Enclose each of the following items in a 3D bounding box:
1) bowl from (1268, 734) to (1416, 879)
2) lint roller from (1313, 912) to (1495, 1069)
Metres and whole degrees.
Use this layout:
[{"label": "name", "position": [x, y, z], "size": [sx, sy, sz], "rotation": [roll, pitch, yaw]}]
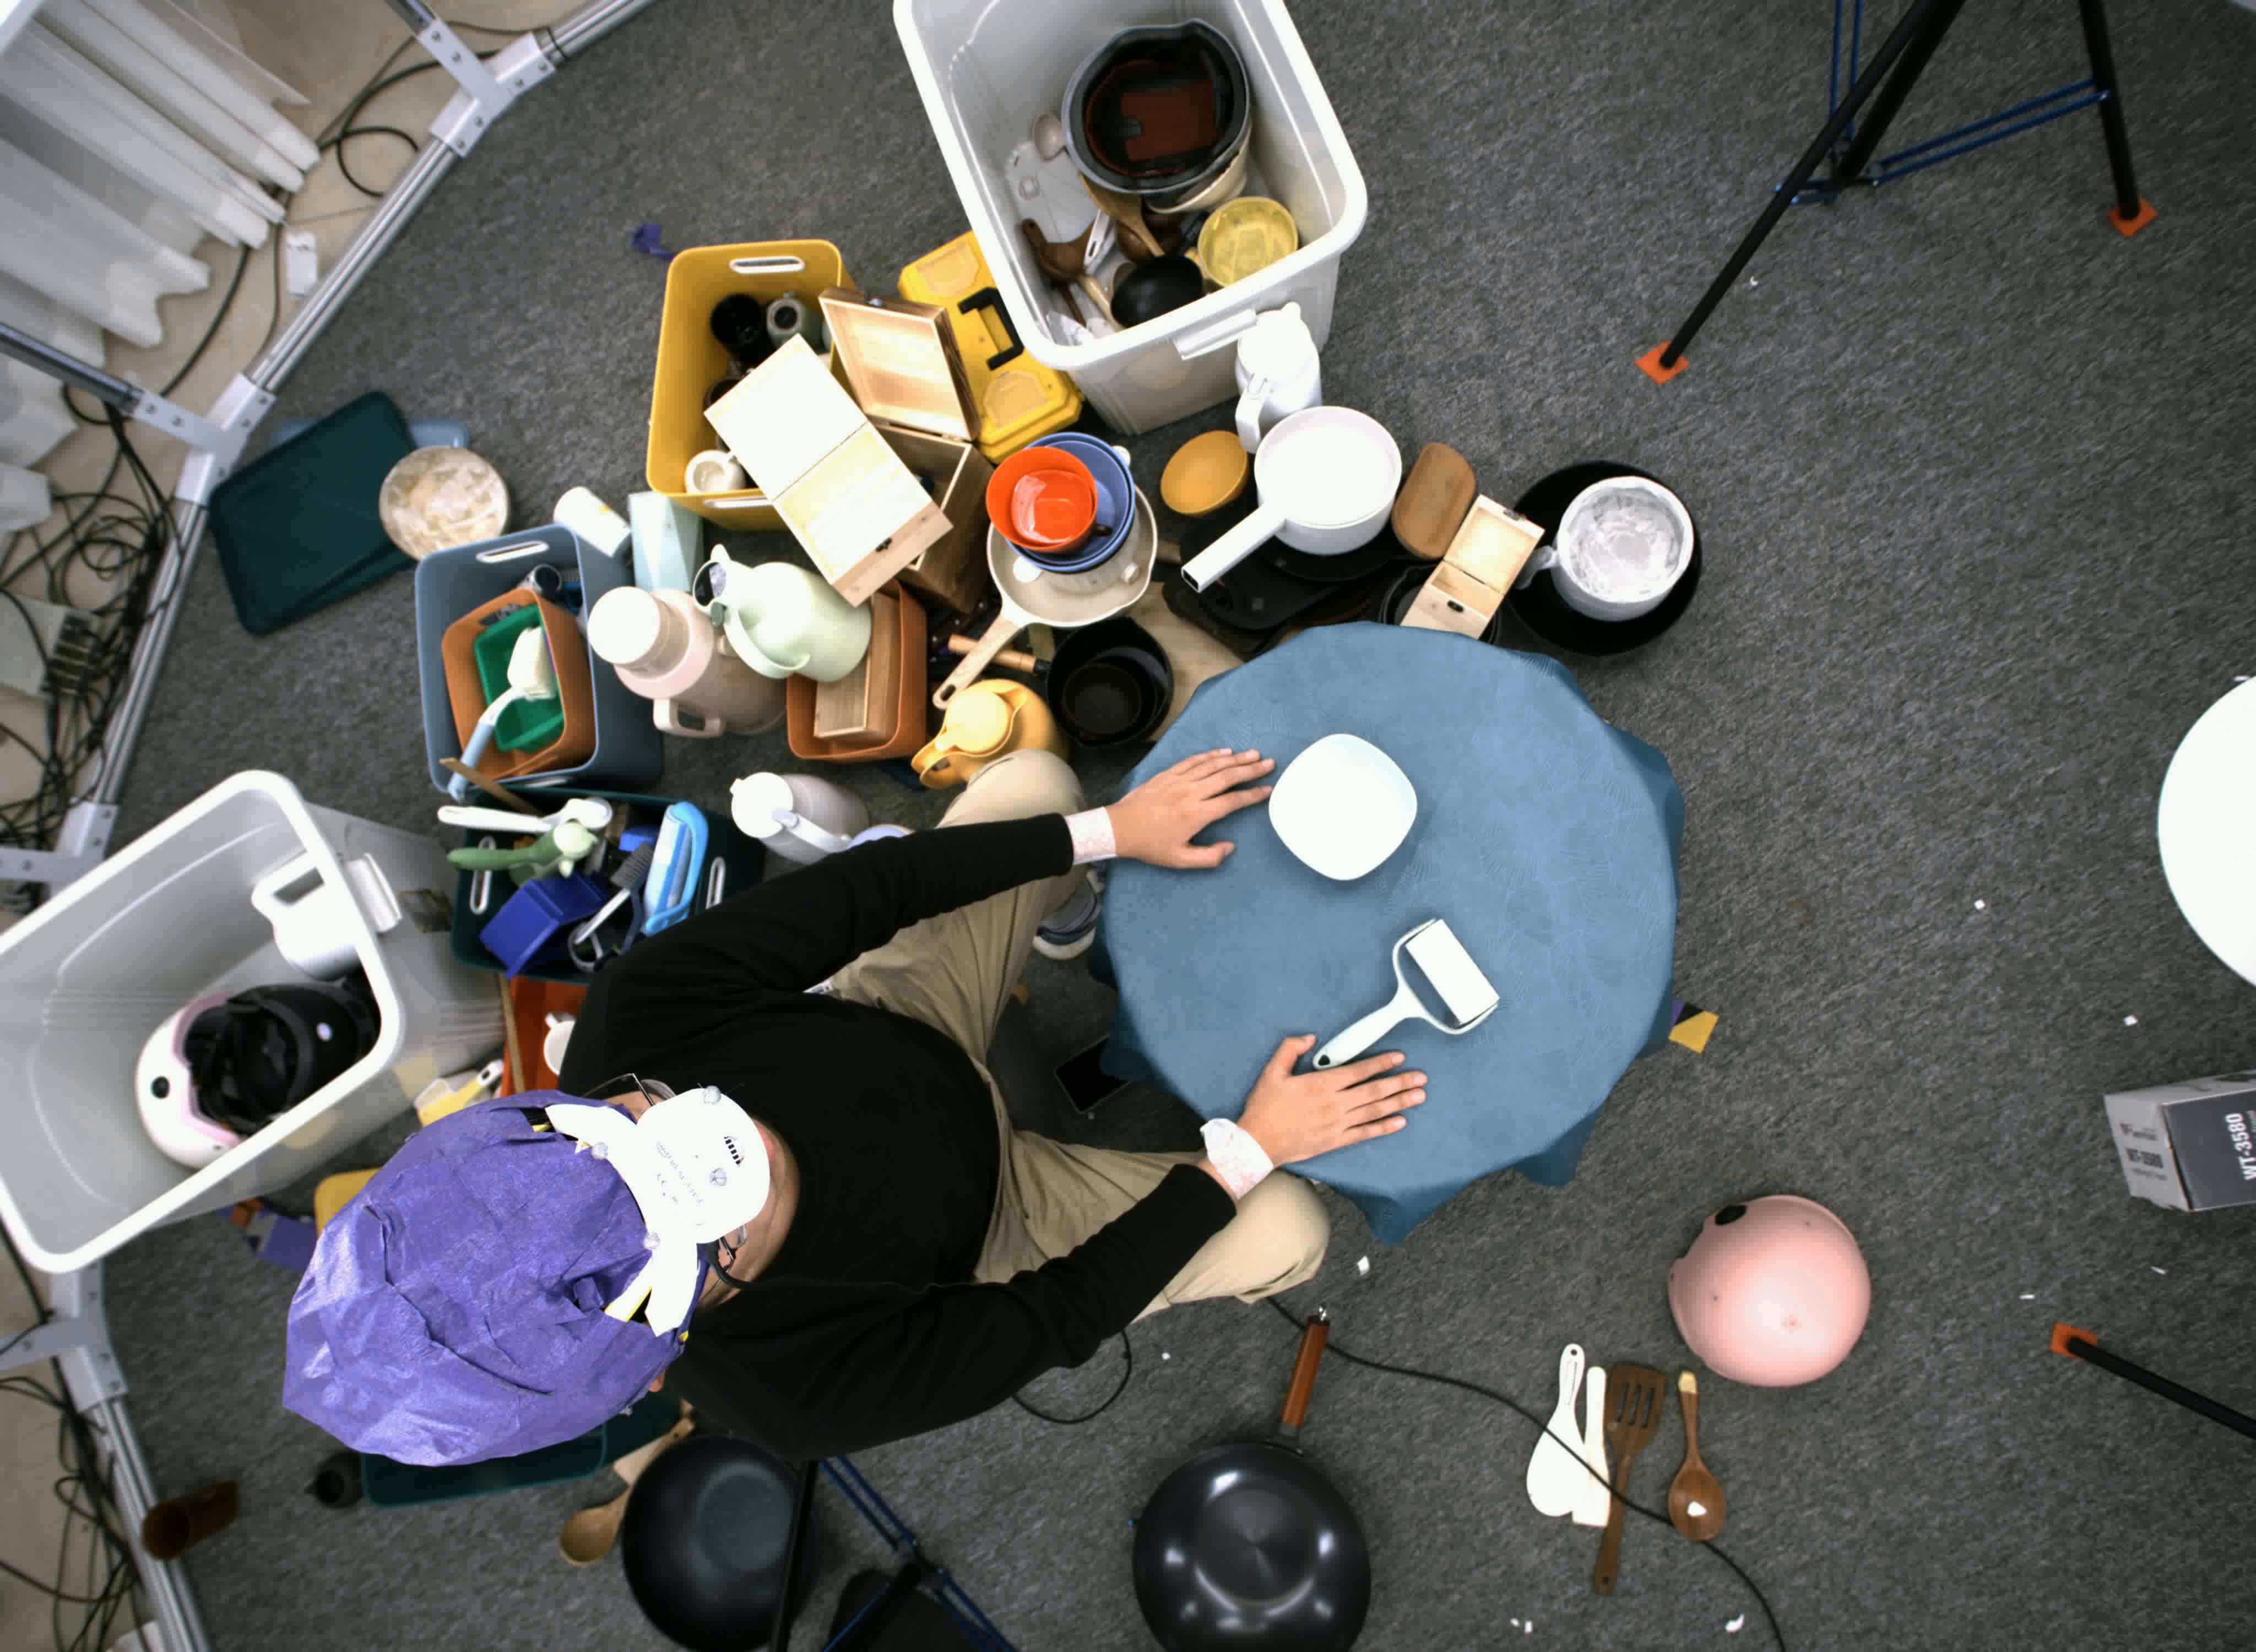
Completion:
[{"label": "bowl", "position": [0.223, -0.019, 1.445], "size": [0.152, 0.059, 0.151], "rotation": [-1, 86, 9]}, {"label": "lint roller", "position": [0.270, 0.185, 1.432], "size": [0.199, 0.048, 0.116], "rotation": [-37, 83, 7]}]
